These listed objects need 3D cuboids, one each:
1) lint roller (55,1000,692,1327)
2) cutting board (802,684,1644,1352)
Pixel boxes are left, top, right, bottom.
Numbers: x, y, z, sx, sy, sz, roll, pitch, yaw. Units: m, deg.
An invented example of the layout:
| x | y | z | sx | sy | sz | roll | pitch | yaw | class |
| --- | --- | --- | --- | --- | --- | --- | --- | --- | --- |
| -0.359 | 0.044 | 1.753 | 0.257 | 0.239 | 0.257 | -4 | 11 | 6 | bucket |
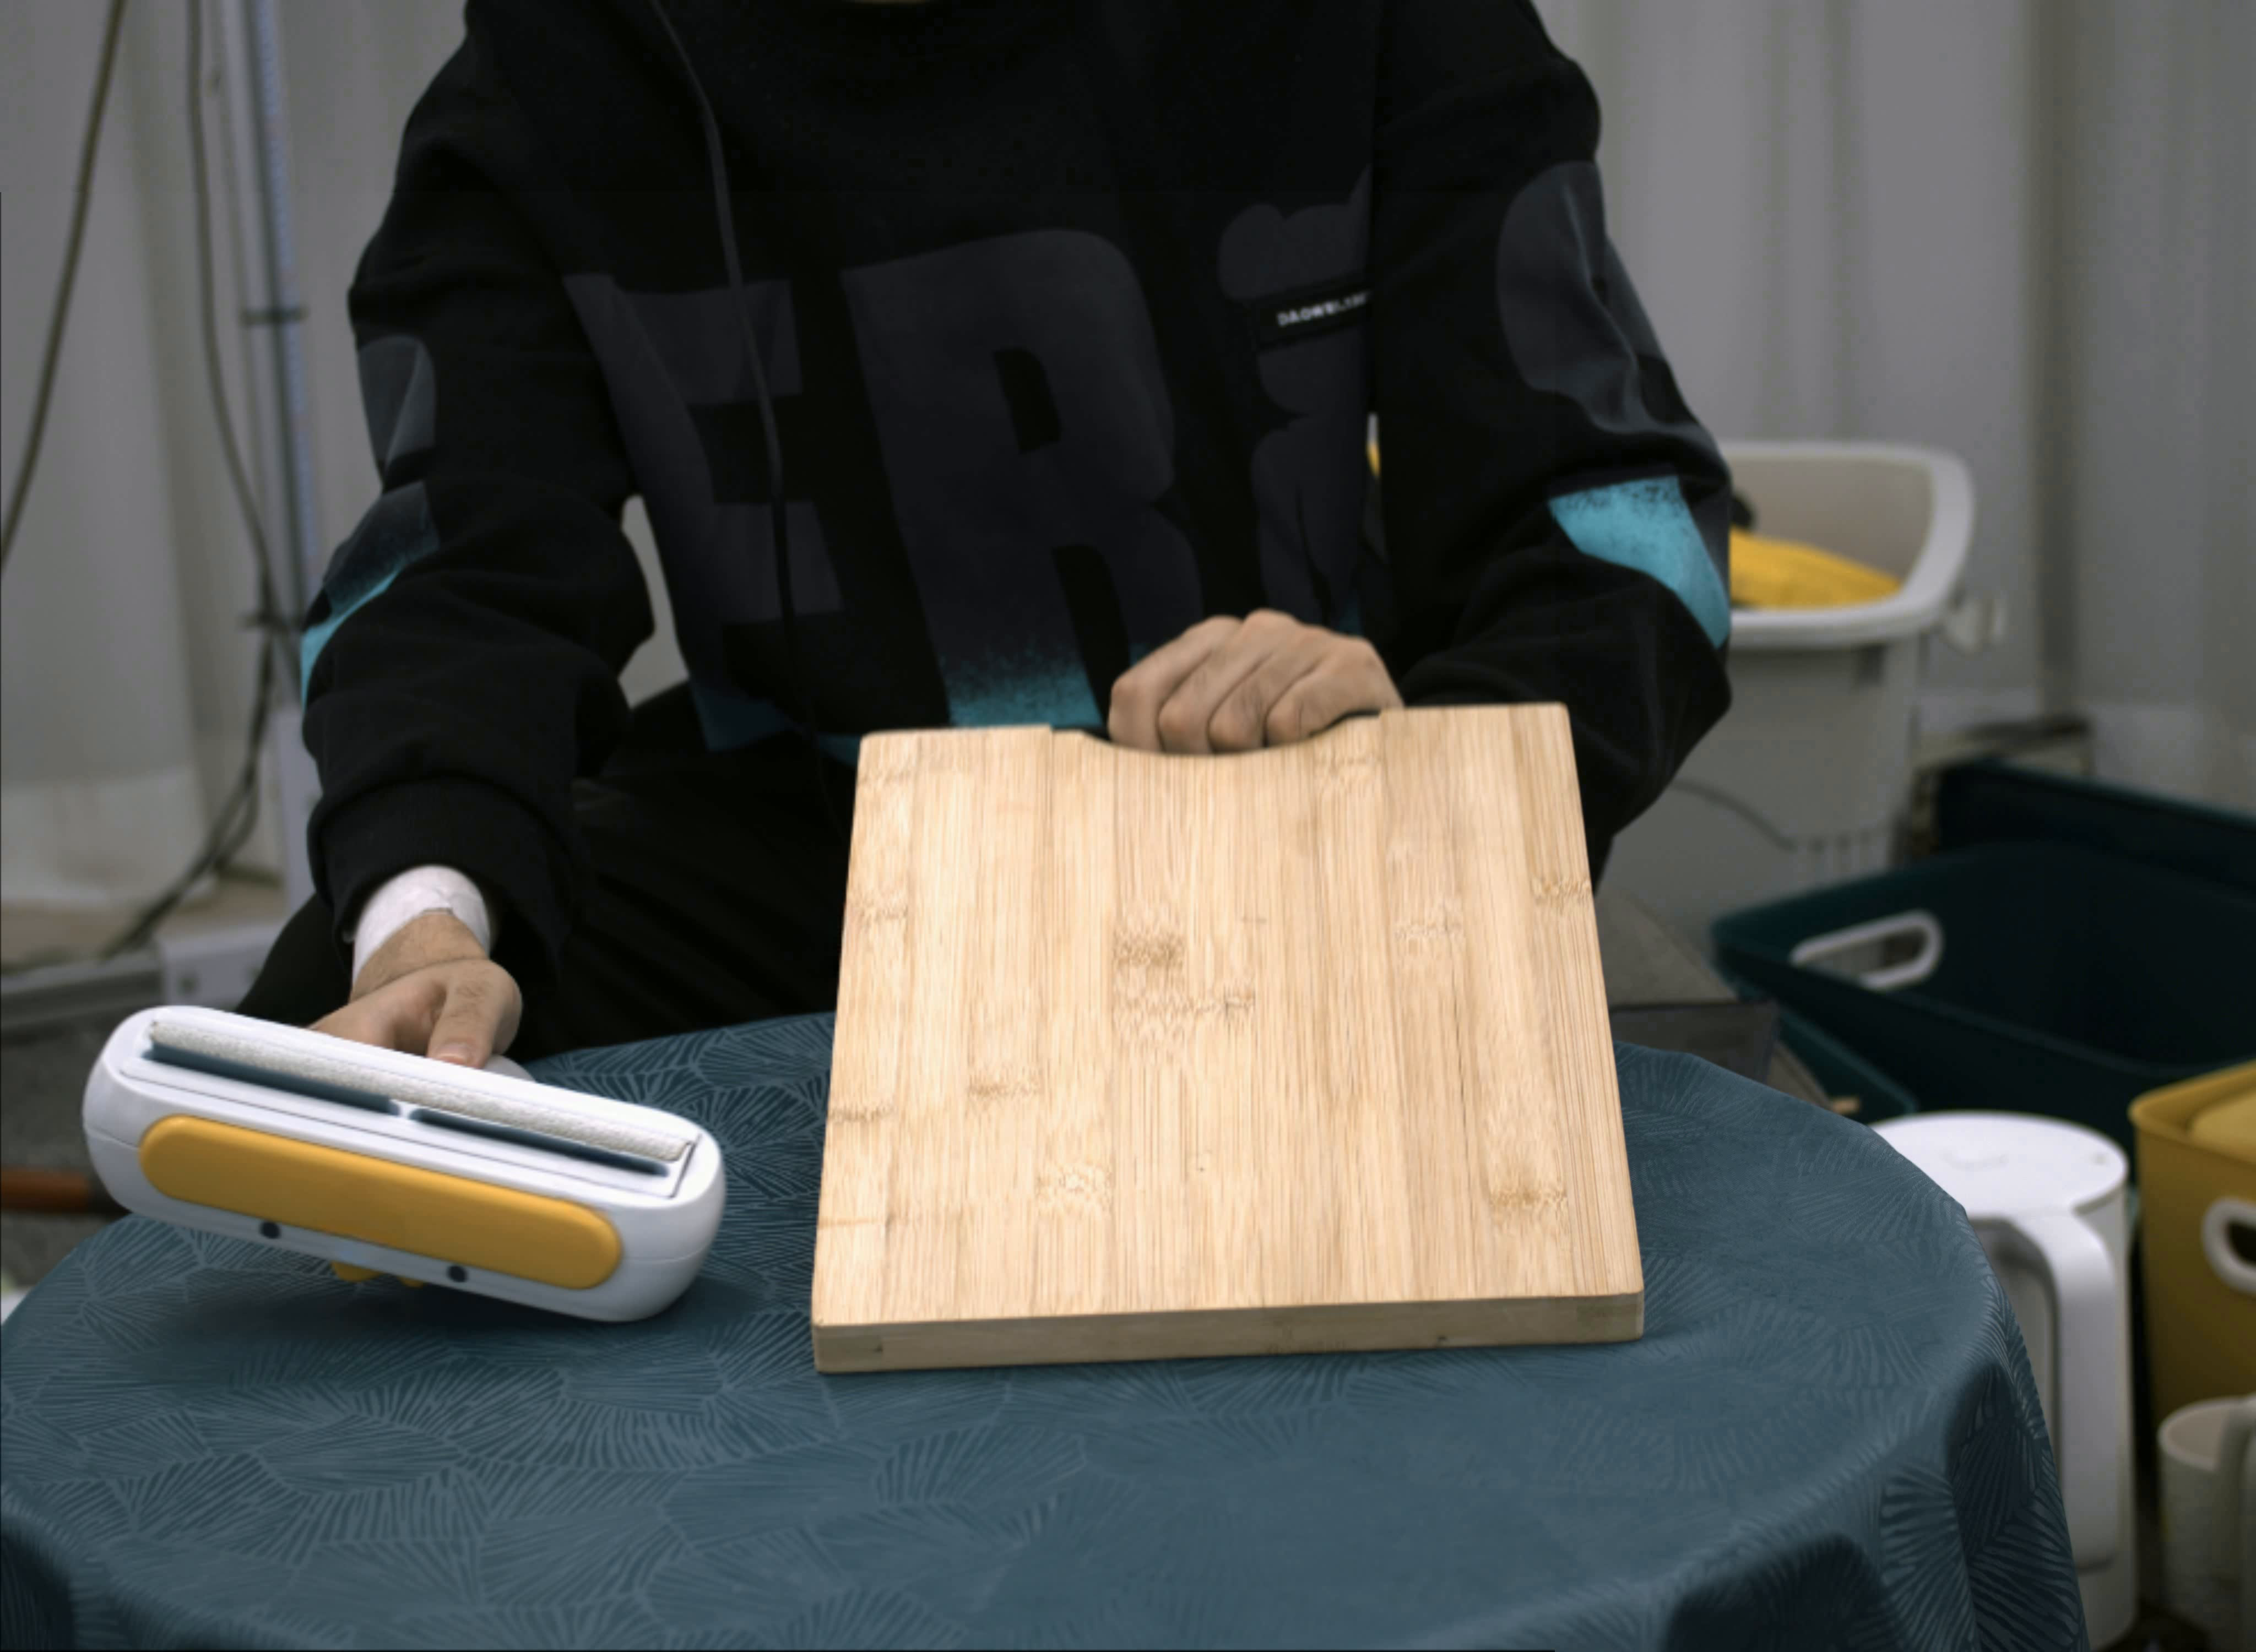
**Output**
| x | y | z | sx | sy | sz | roll | pitch | yaw | class |
| --- | --- | --- | --- | --- | --- | --- | --- | --- | --- |
| -0.216 | 0.092 | 1.693 | 0.192 | 0.074 | 0.193 | 10 | 16 | 8 | lint roller |
| 0.030 | 0.054 | 1.715 | 0.250 | 0.023 | 0.353 | -3 | 31 | 1 | cutting board |
